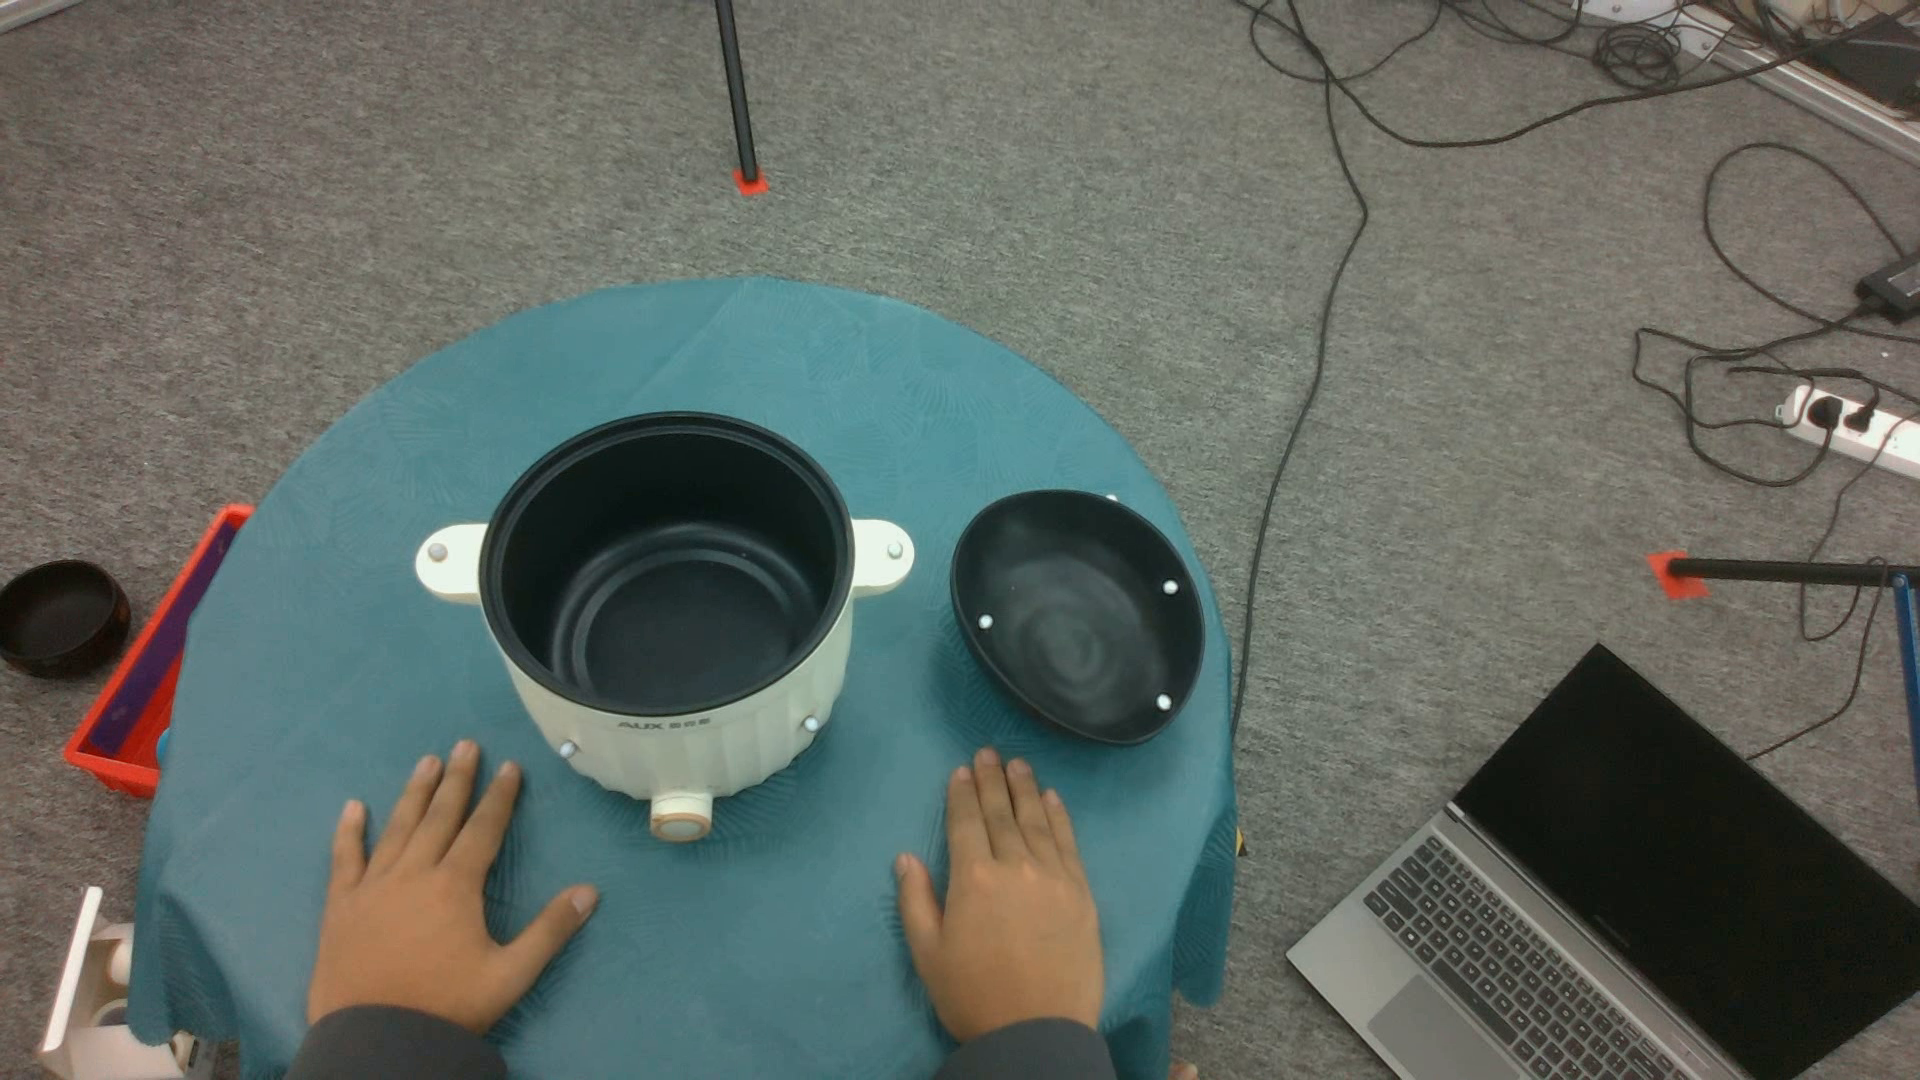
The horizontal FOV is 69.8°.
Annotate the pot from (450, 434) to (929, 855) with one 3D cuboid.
[{"bbox_3d":[-0.135,0.059,0.745,0.240,0.142,0.191,-5,52,-4],"label":"pot"}]

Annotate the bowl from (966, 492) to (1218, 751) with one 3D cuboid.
[{"bbox_3d":[0.075,0.053,0.804,0.137,0.066,0.170,-23,60,-17],"label":"bowl"}]
